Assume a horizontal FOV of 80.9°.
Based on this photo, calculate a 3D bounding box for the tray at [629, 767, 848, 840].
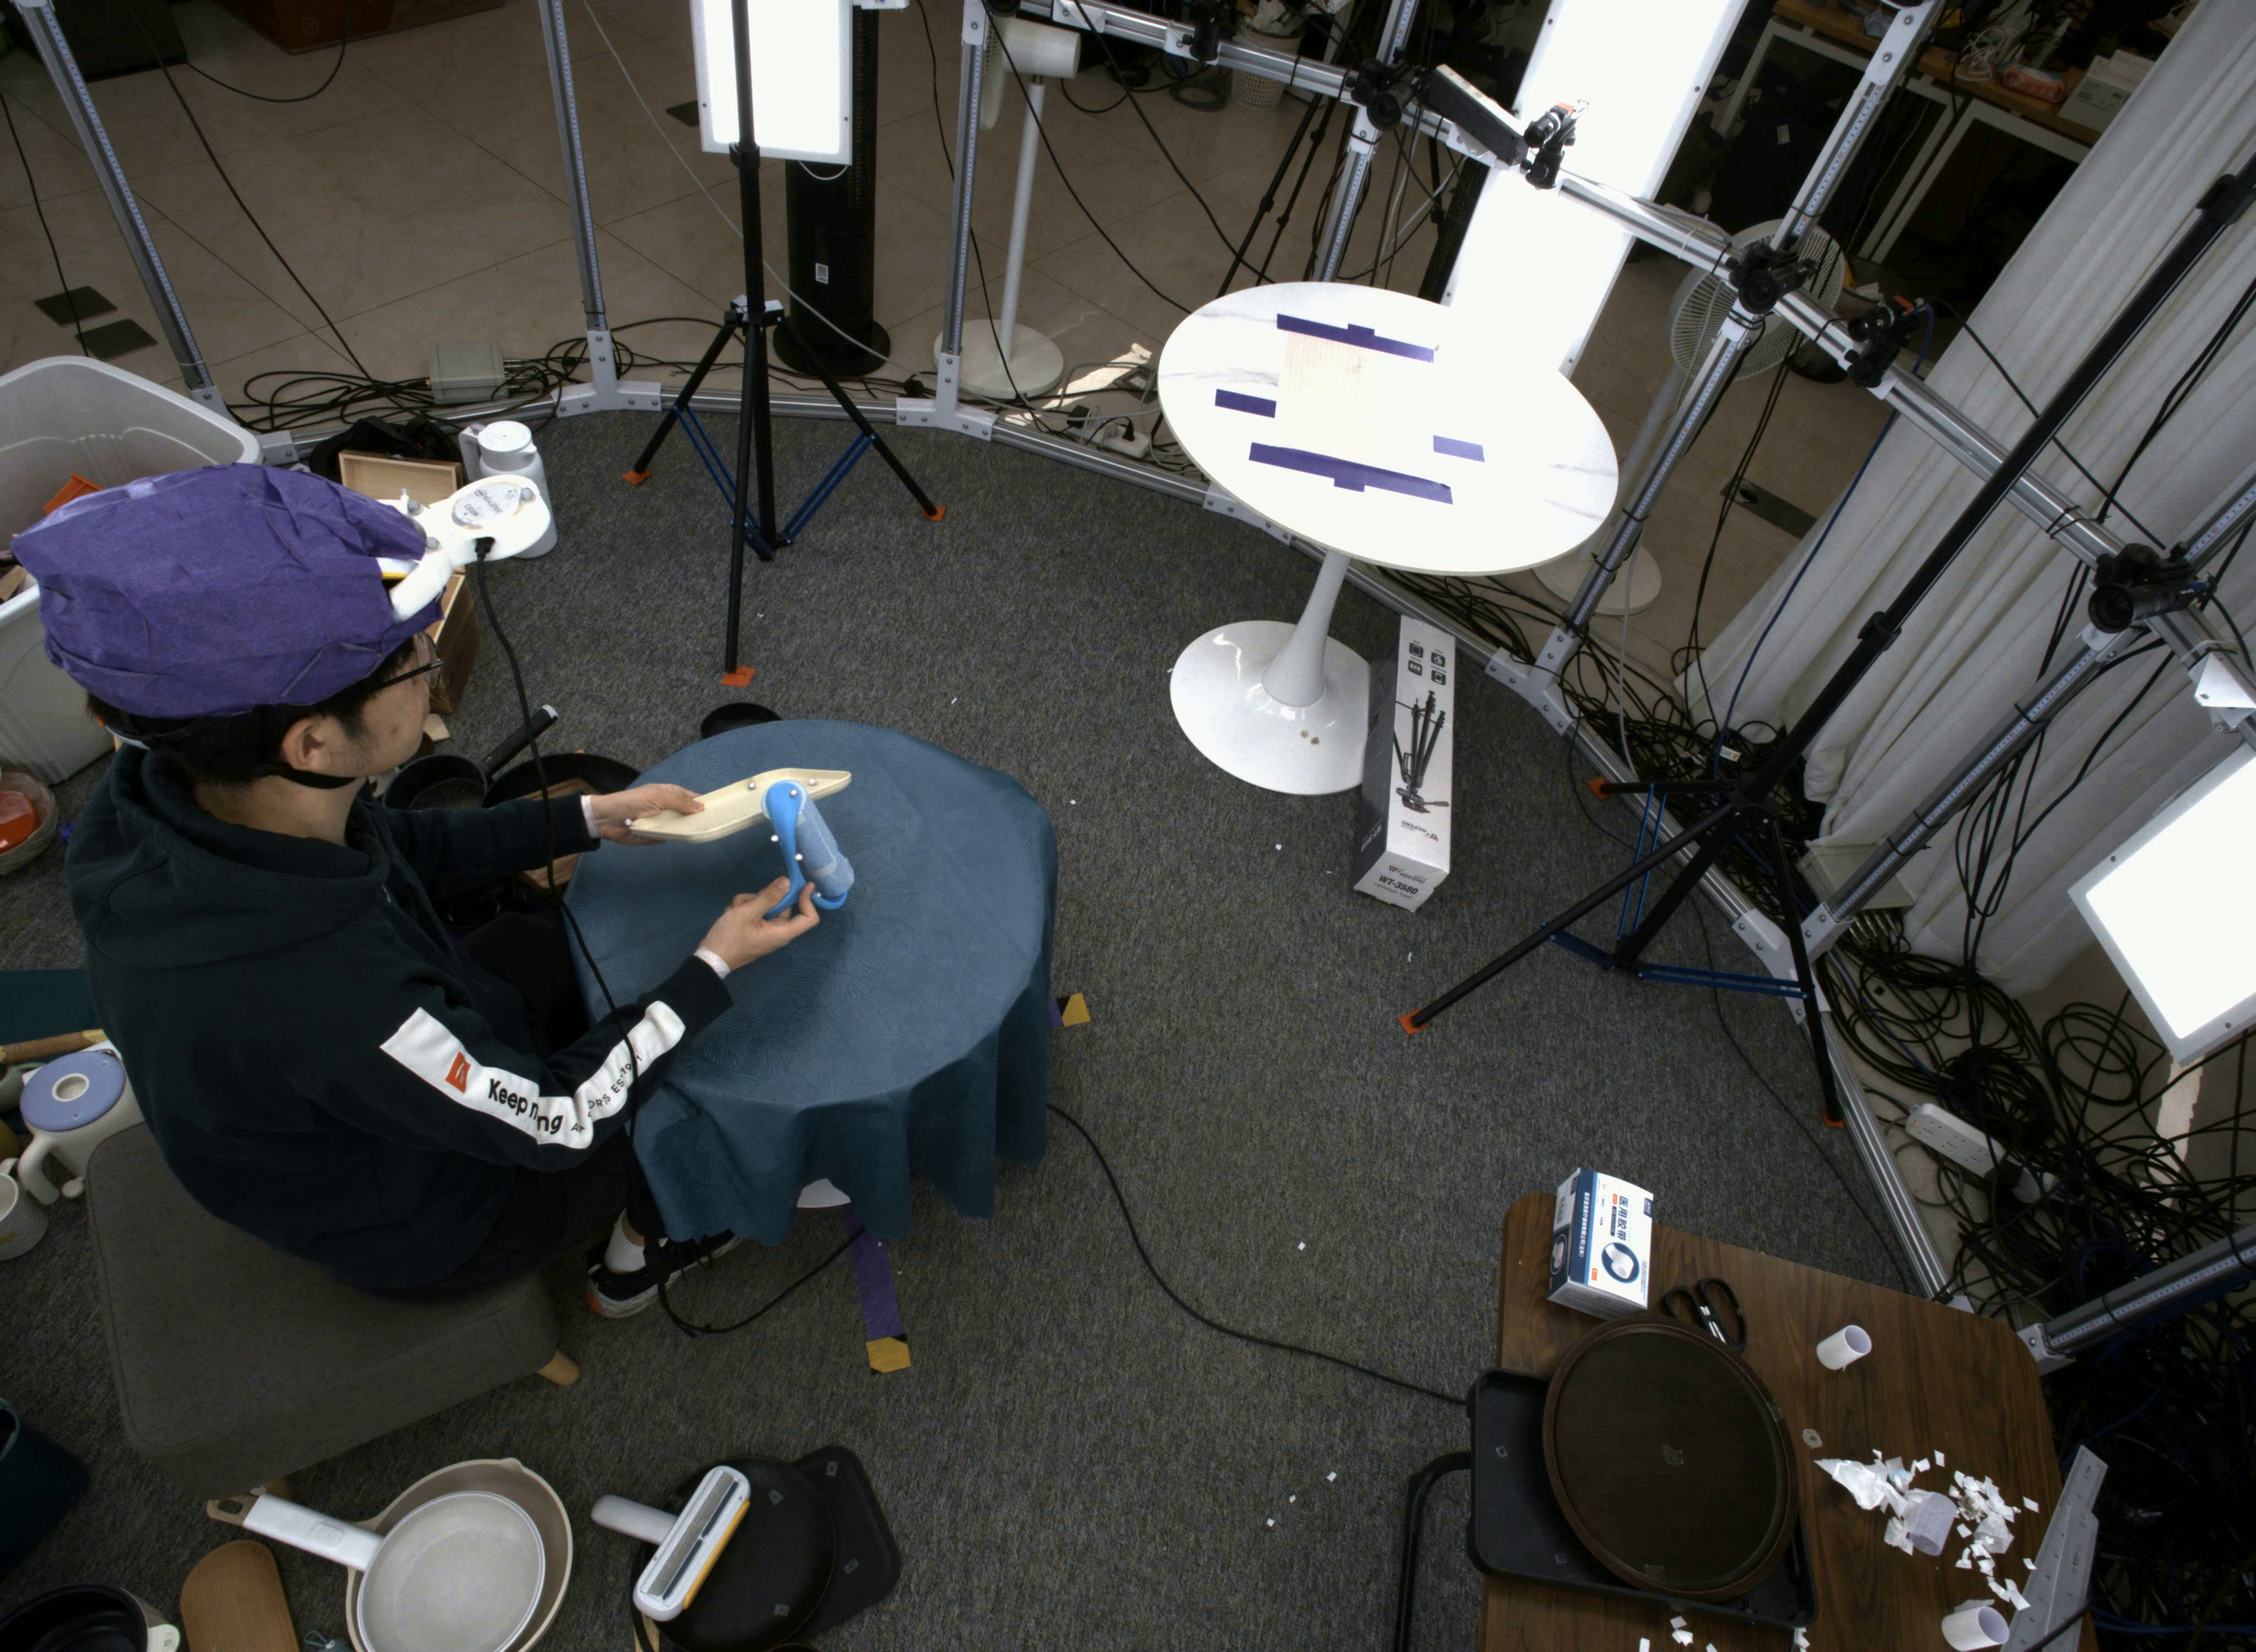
[{"bbox_3d":[-0.466,-0.029,1.553,0.165,0.018,0.241,4,21,38],"label":"tray"}]

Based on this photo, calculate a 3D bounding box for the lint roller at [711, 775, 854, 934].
[{"bbox_3d":[-0.407,0.061,1.513,0.066,0.235,0.180,26,69,18],"label":"lint roller"}]
